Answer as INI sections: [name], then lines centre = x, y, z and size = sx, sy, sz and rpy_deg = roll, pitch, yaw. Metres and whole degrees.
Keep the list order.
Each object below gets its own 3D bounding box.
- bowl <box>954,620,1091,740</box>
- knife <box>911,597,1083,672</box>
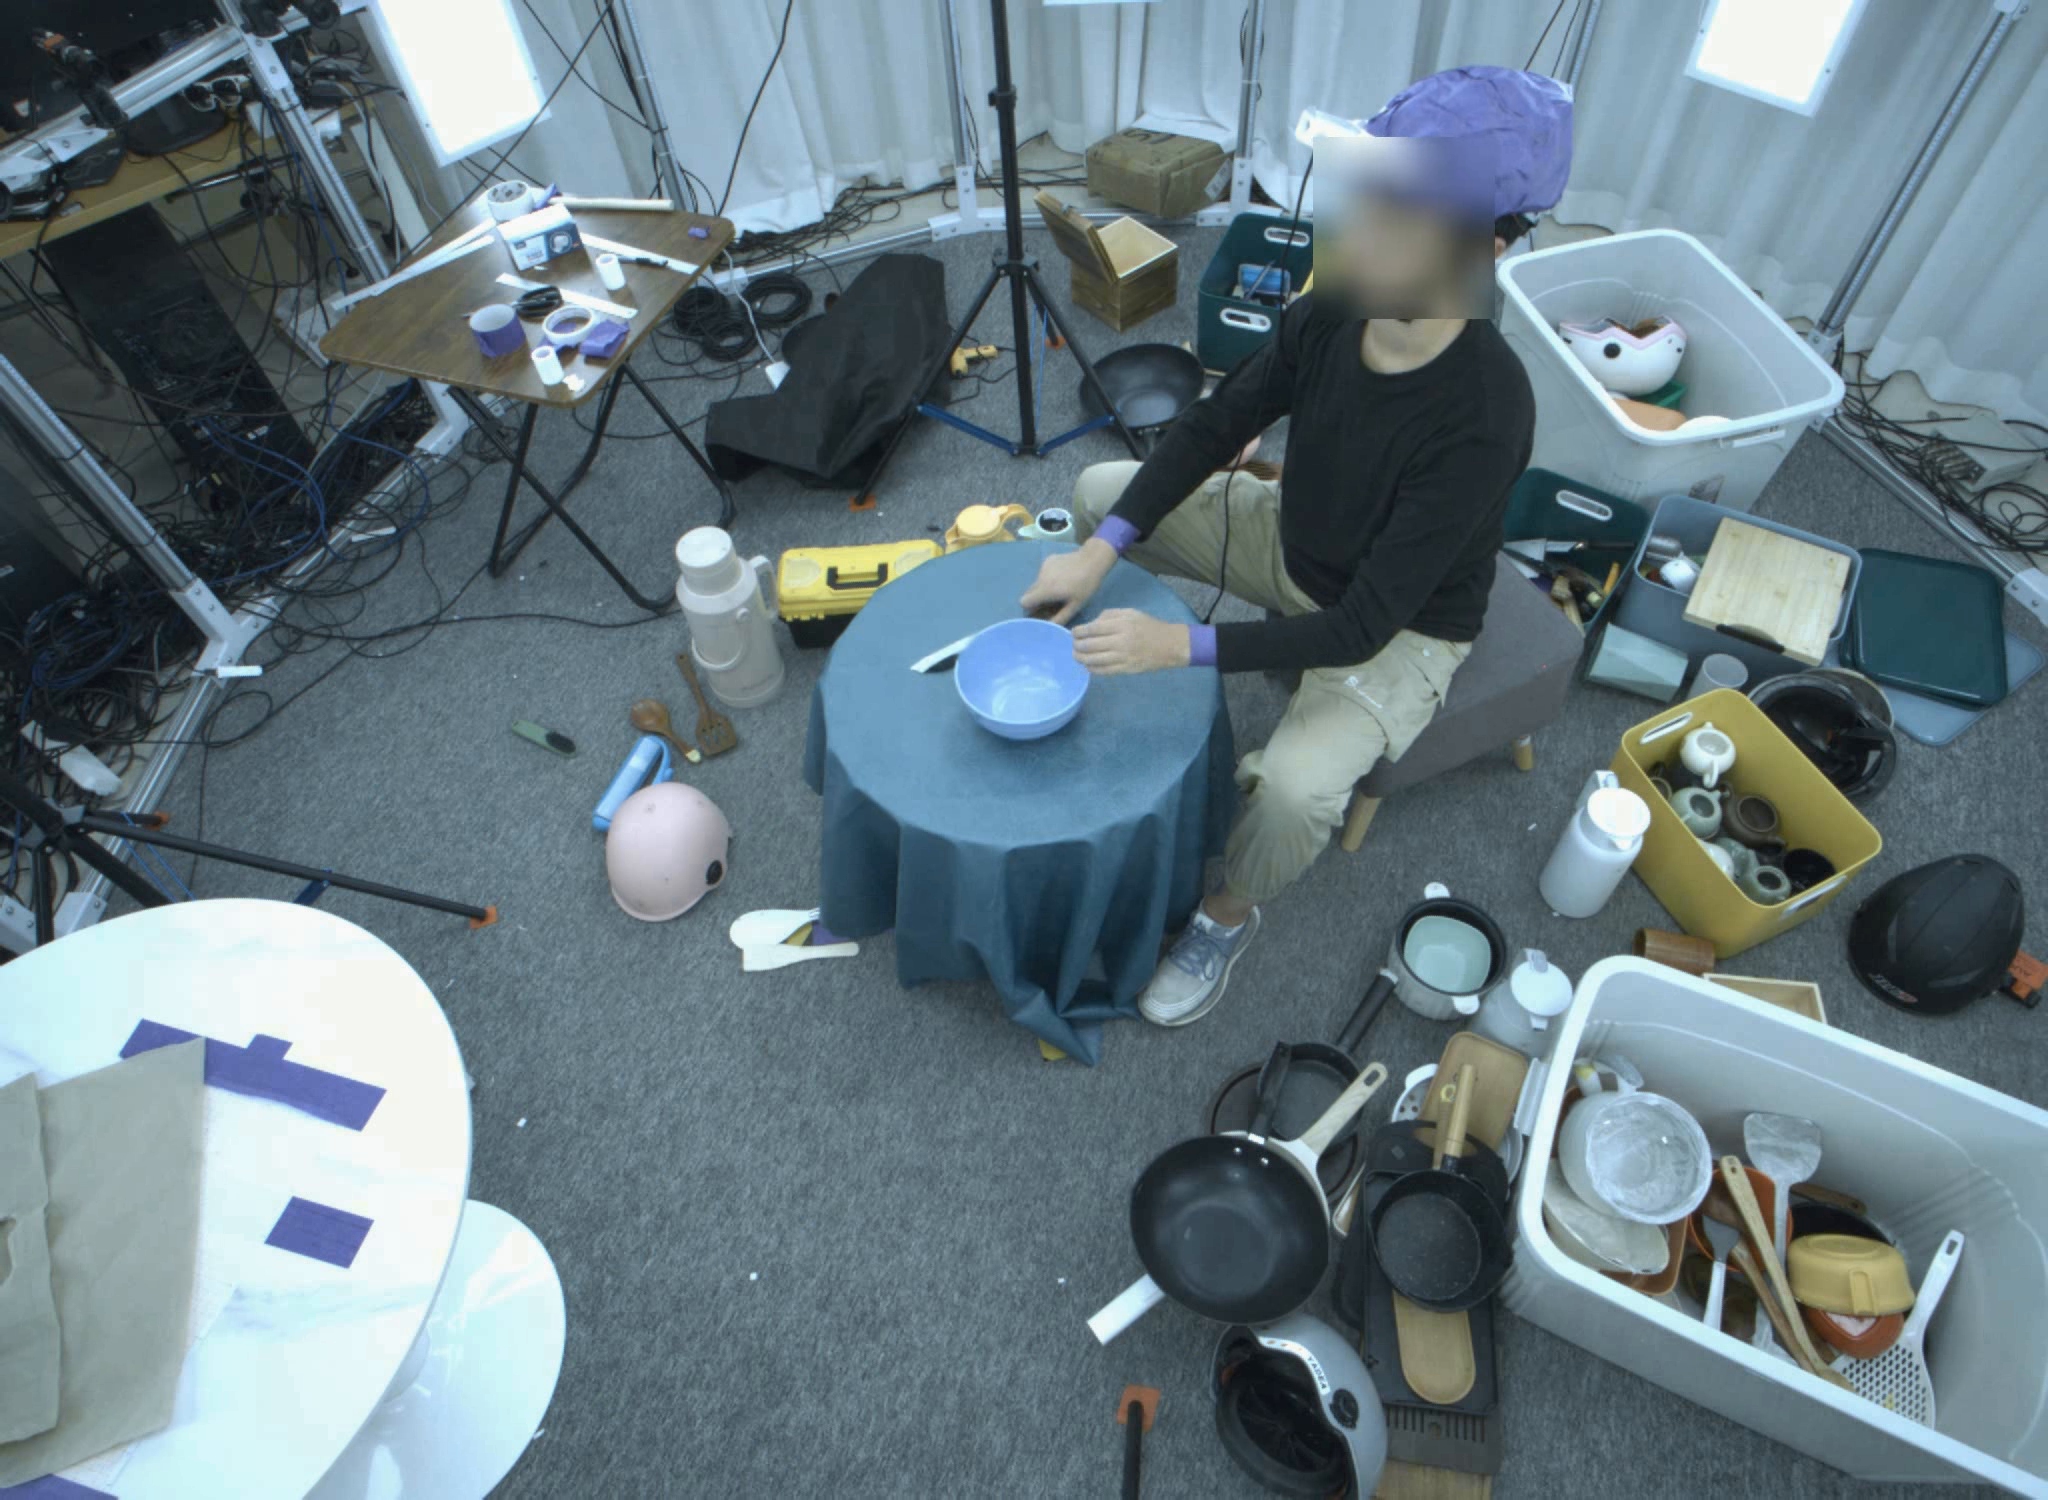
[bowl]
centre = -0.001, -0.087, 1.790
size = 0.196, 0.096, 0.194
rpy_deg = 0, 53, 1
[knife]
centre = -0.042, -0.177, 1.902
size = 0.291, 0.020, 0.049
rpy_deg = -23, 50, -11
